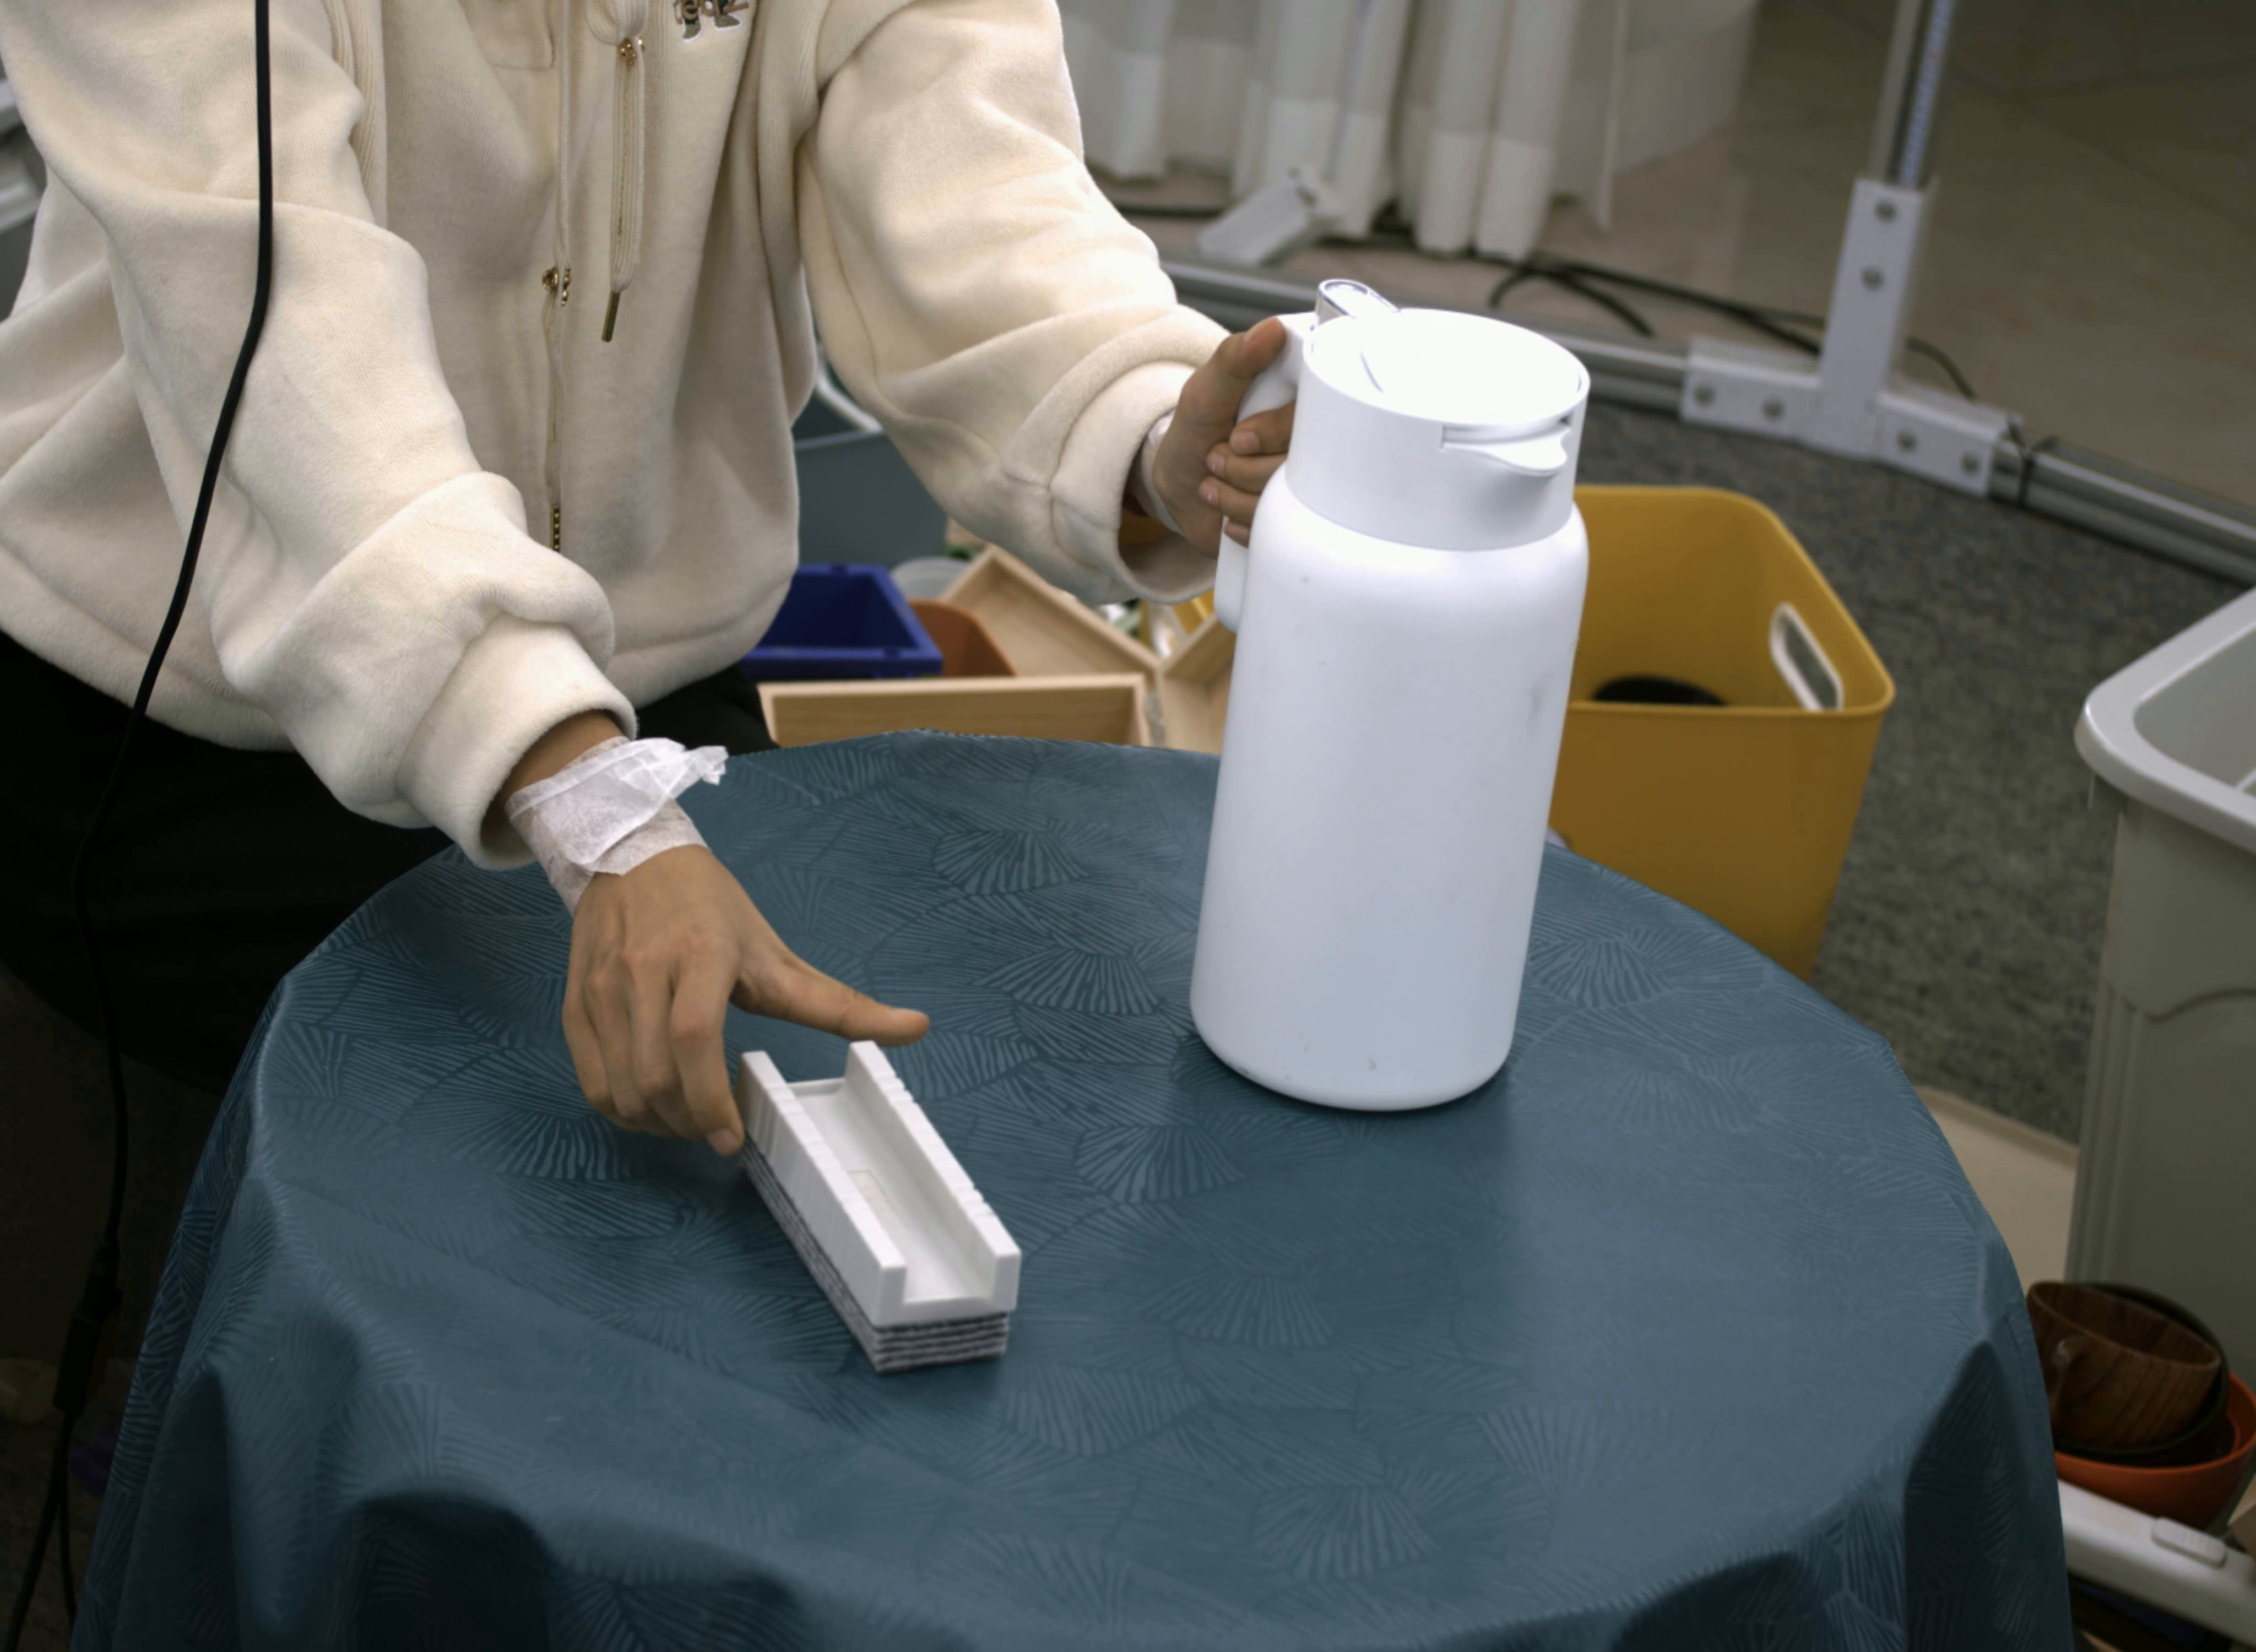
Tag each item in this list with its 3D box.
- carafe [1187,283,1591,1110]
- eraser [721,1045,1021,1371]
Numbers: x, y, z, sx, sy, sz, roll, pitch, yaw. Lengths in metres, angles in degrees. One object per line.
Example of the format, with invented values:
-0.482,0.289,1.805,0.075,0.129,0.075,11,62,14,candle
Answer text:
0.083,-0.048,1.865,0.123,0.268,0.174,-11,31,-28,carafe
-0.086,0.123,1.732,0.049,0.046,0.135,-9,31,-24,eraser
